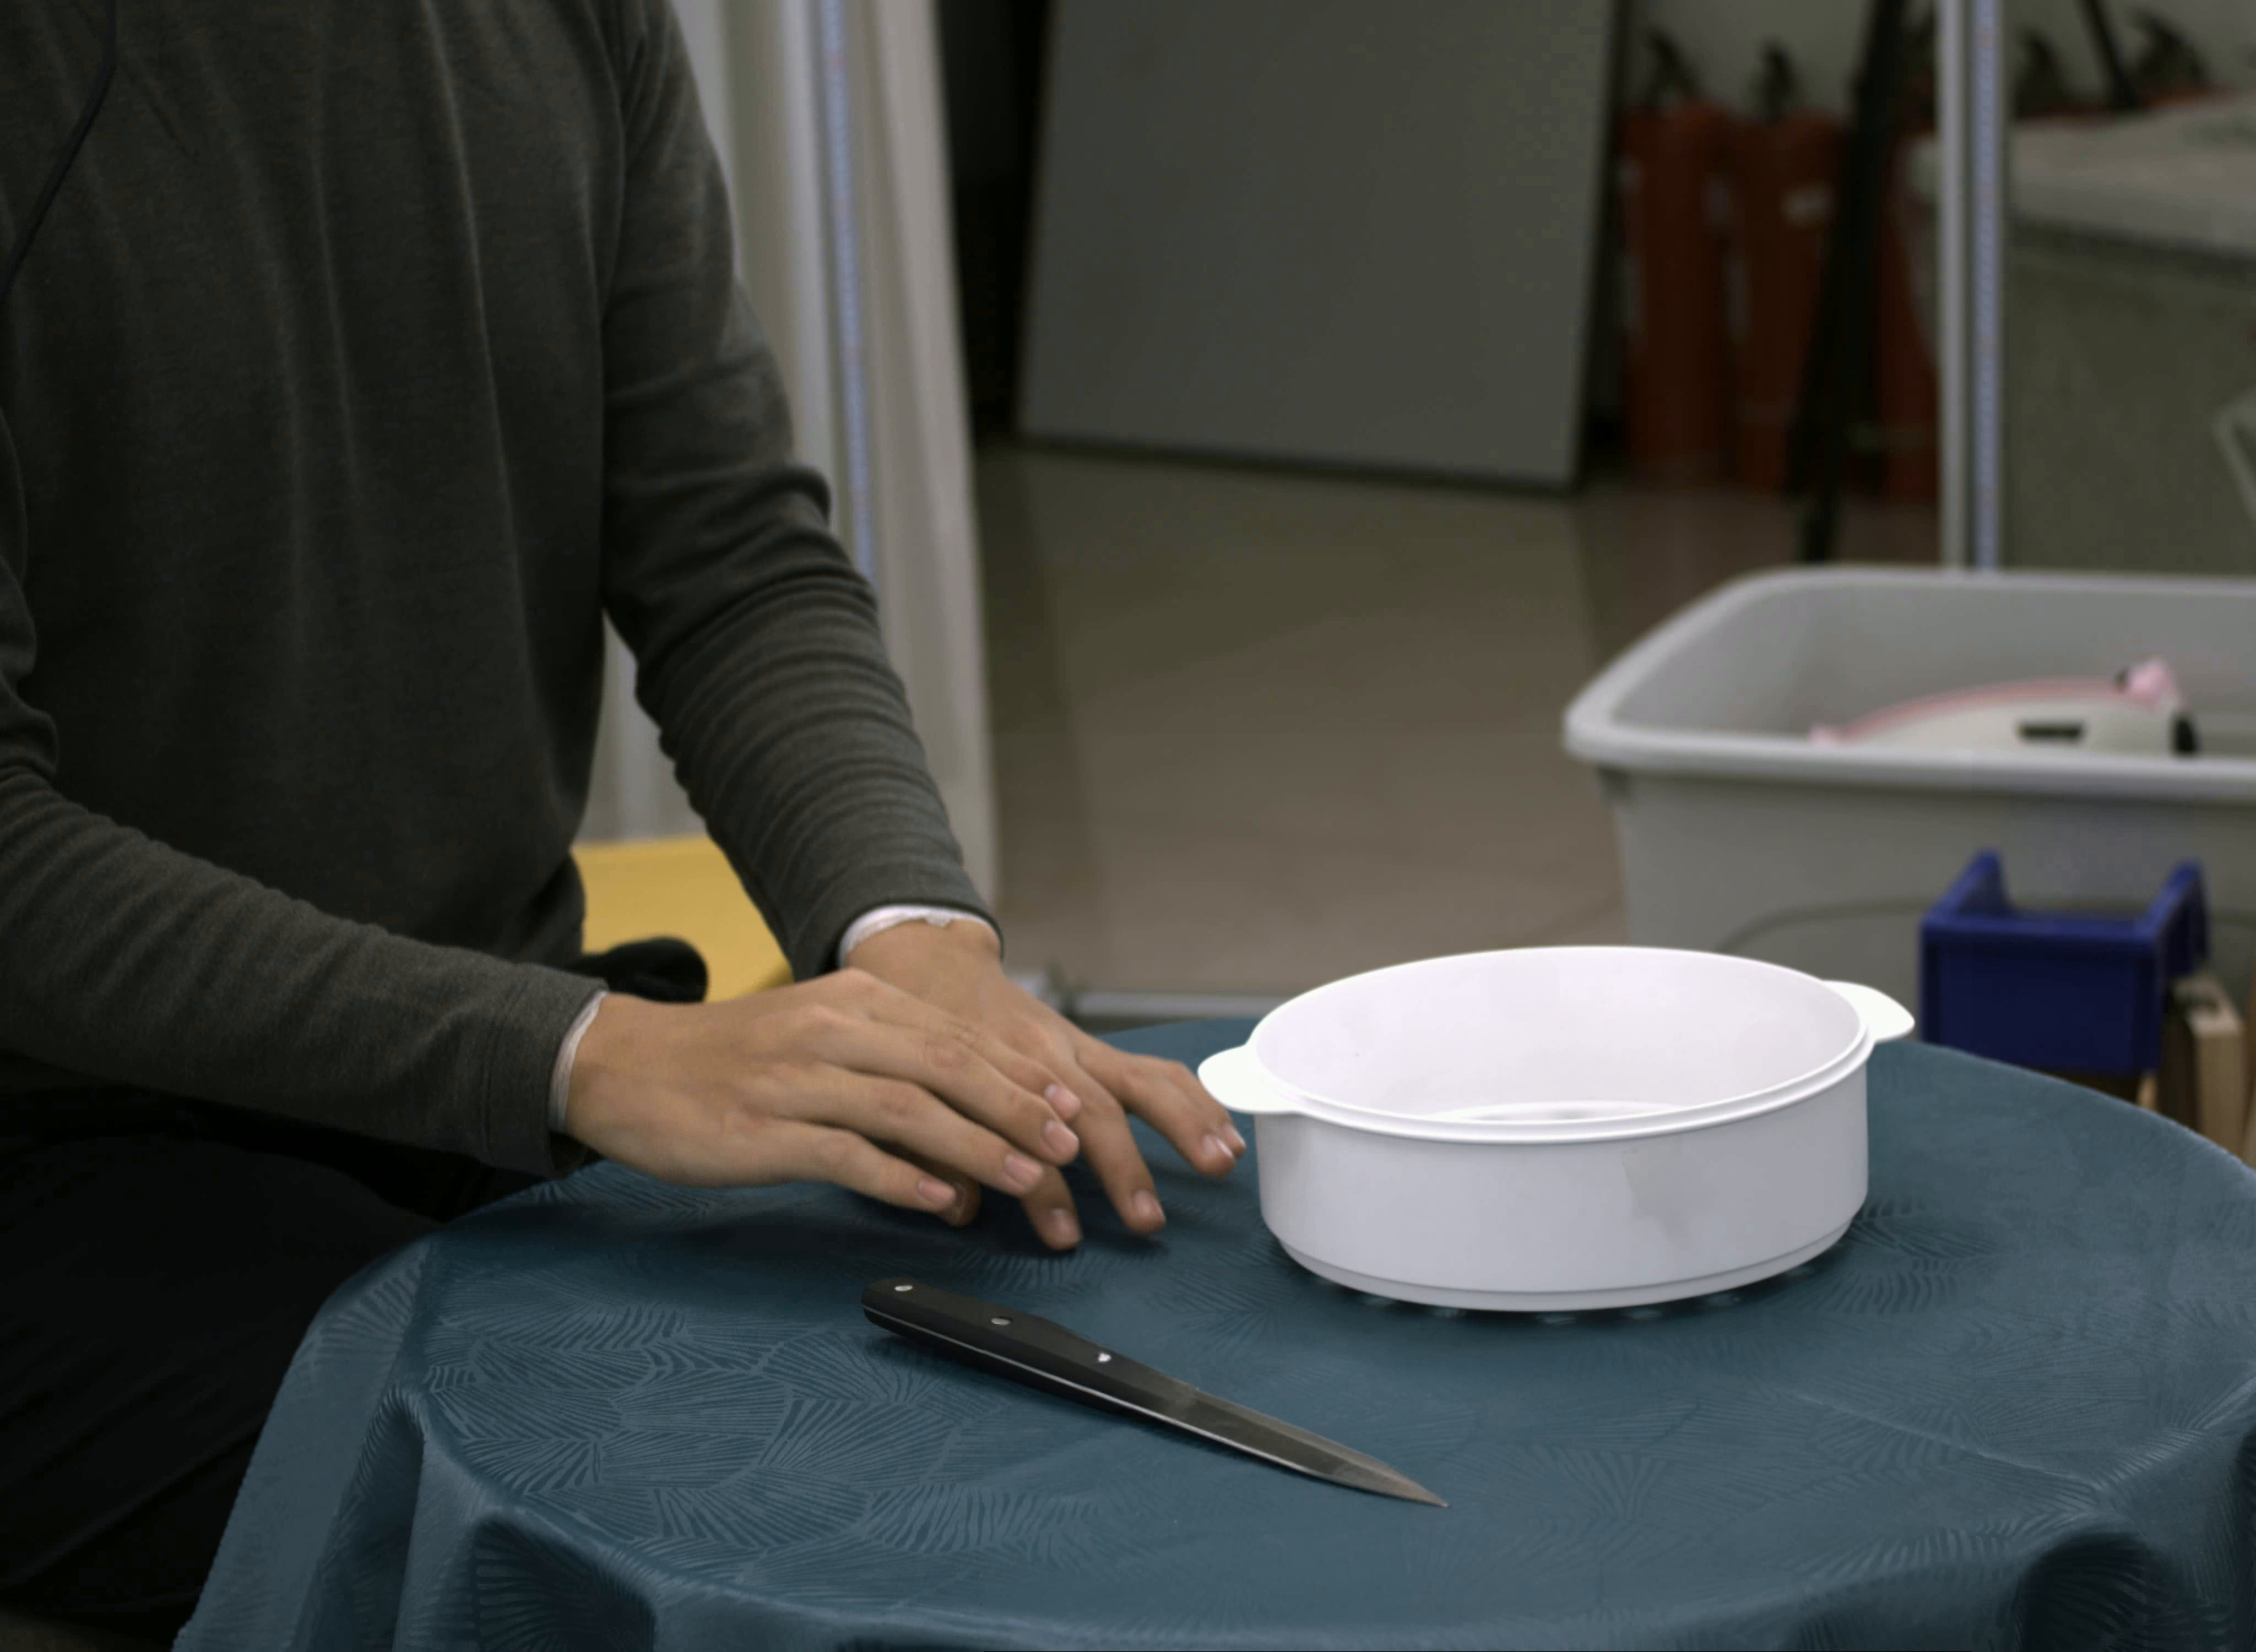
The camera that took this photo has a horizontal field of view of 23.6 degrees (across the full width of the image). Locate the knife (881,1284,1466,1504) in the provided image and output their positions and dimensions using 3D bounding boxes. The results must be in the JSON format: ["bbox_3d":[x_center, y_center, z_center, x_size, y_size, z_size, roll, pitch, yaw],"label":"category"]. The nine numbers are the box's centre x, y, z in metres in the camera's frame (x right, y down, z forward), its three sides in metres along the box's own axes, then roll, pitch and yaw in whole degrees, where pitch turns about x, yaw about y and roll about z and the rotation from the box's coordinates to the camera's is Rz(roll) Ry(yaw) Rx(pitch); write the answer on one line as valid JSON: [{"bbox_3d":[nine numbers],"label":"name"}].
[{"bbox_3d":[0.008,0.166,1.562,0.024,0.016,0.240,-17,21,-41],"label":"knife"}]

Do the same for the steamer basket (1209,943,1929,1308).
[{"bbox_3d":[0.141,0.094,1.698,0.226,0.070,0.203,-7,13,-8],"label":"steamer basket"}]
